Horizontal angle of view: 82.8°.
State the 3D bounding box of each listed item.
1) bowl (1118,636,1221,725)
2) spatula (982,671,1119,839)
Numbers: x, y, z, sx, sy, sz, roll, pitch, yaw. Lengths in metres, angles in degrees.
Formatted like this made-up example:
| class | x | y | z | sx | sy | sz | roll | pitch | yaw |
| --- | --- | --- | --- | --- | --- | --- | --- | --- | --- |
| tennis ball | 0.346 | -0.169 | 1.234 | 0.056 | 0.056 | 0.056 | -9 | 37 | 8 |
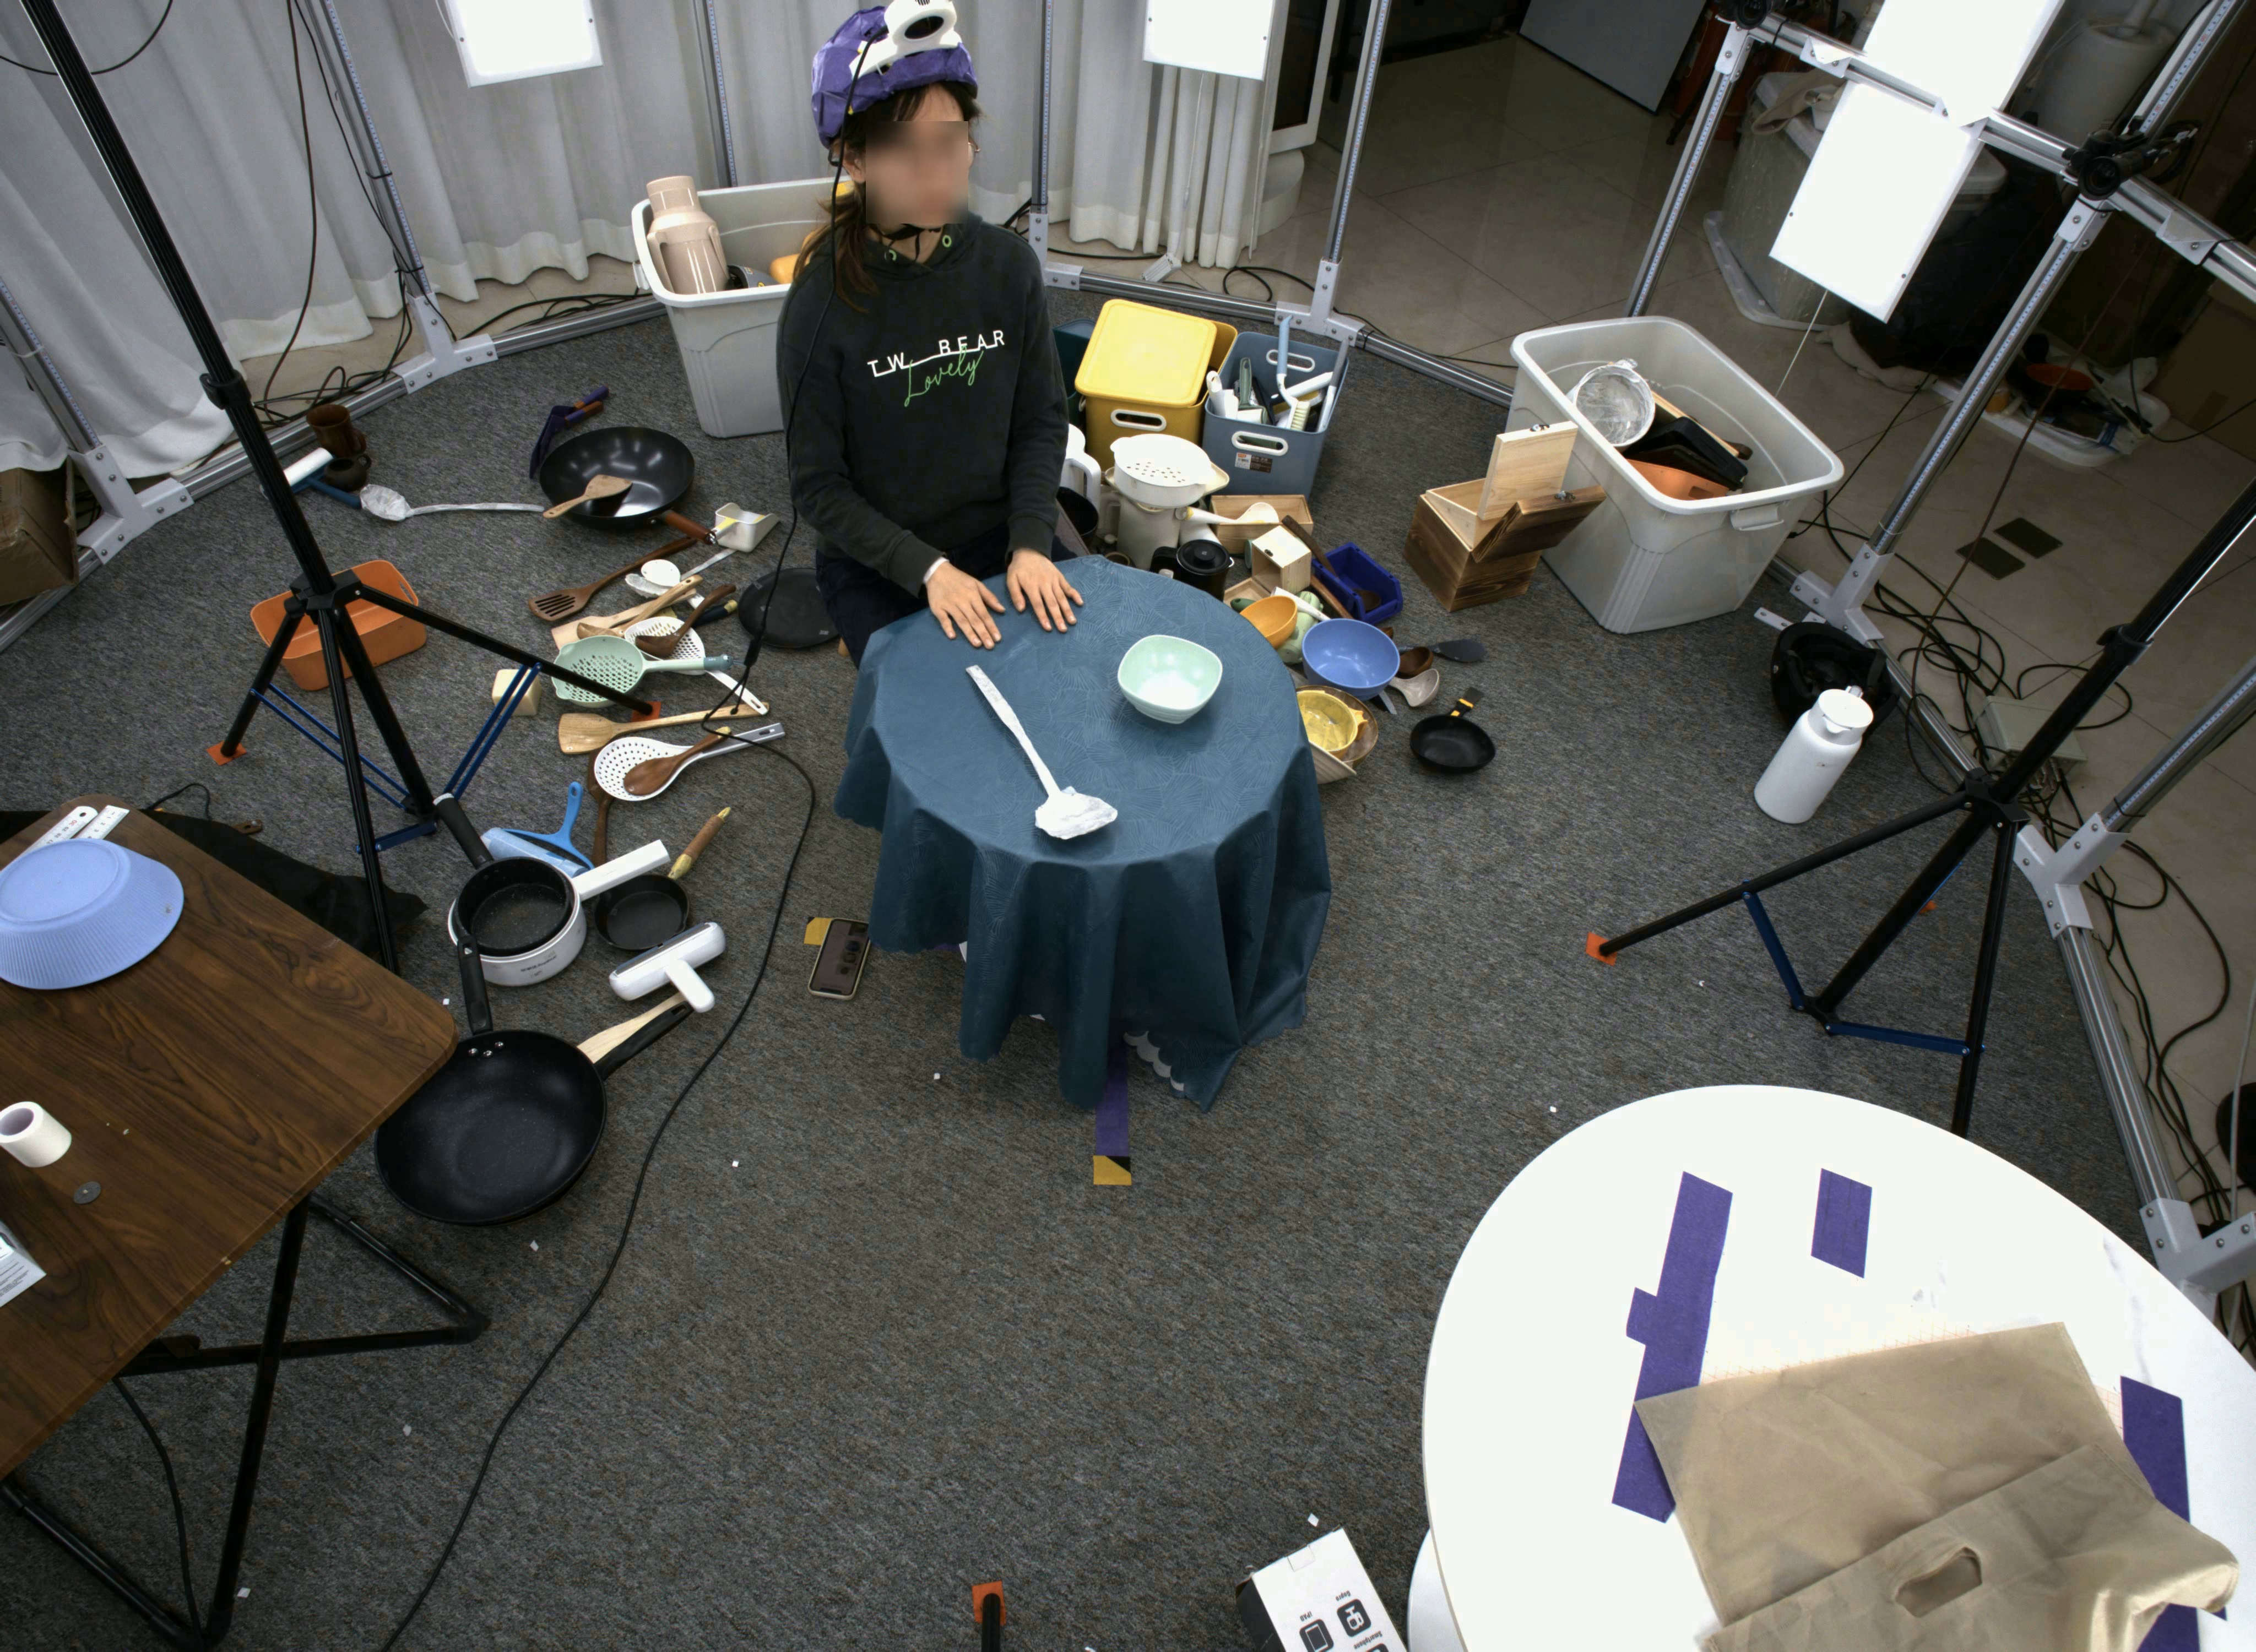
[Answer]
| class | x | y | z | sx | sy | sz | roll | pitch | yaw |
| --- | --- | --- | --- | --- | --- | --- | --- | --- | --- |
| bowl | 0.057 | -0.198 | 1.825 | 0.151 | 0.057 | 0.155 | 3 | 51 | -4 |
| spatula | -0.129 | -0.108 | 1.744 | 0.099 | 0.043 | 0.373 | -20 | 53 | -18 |
